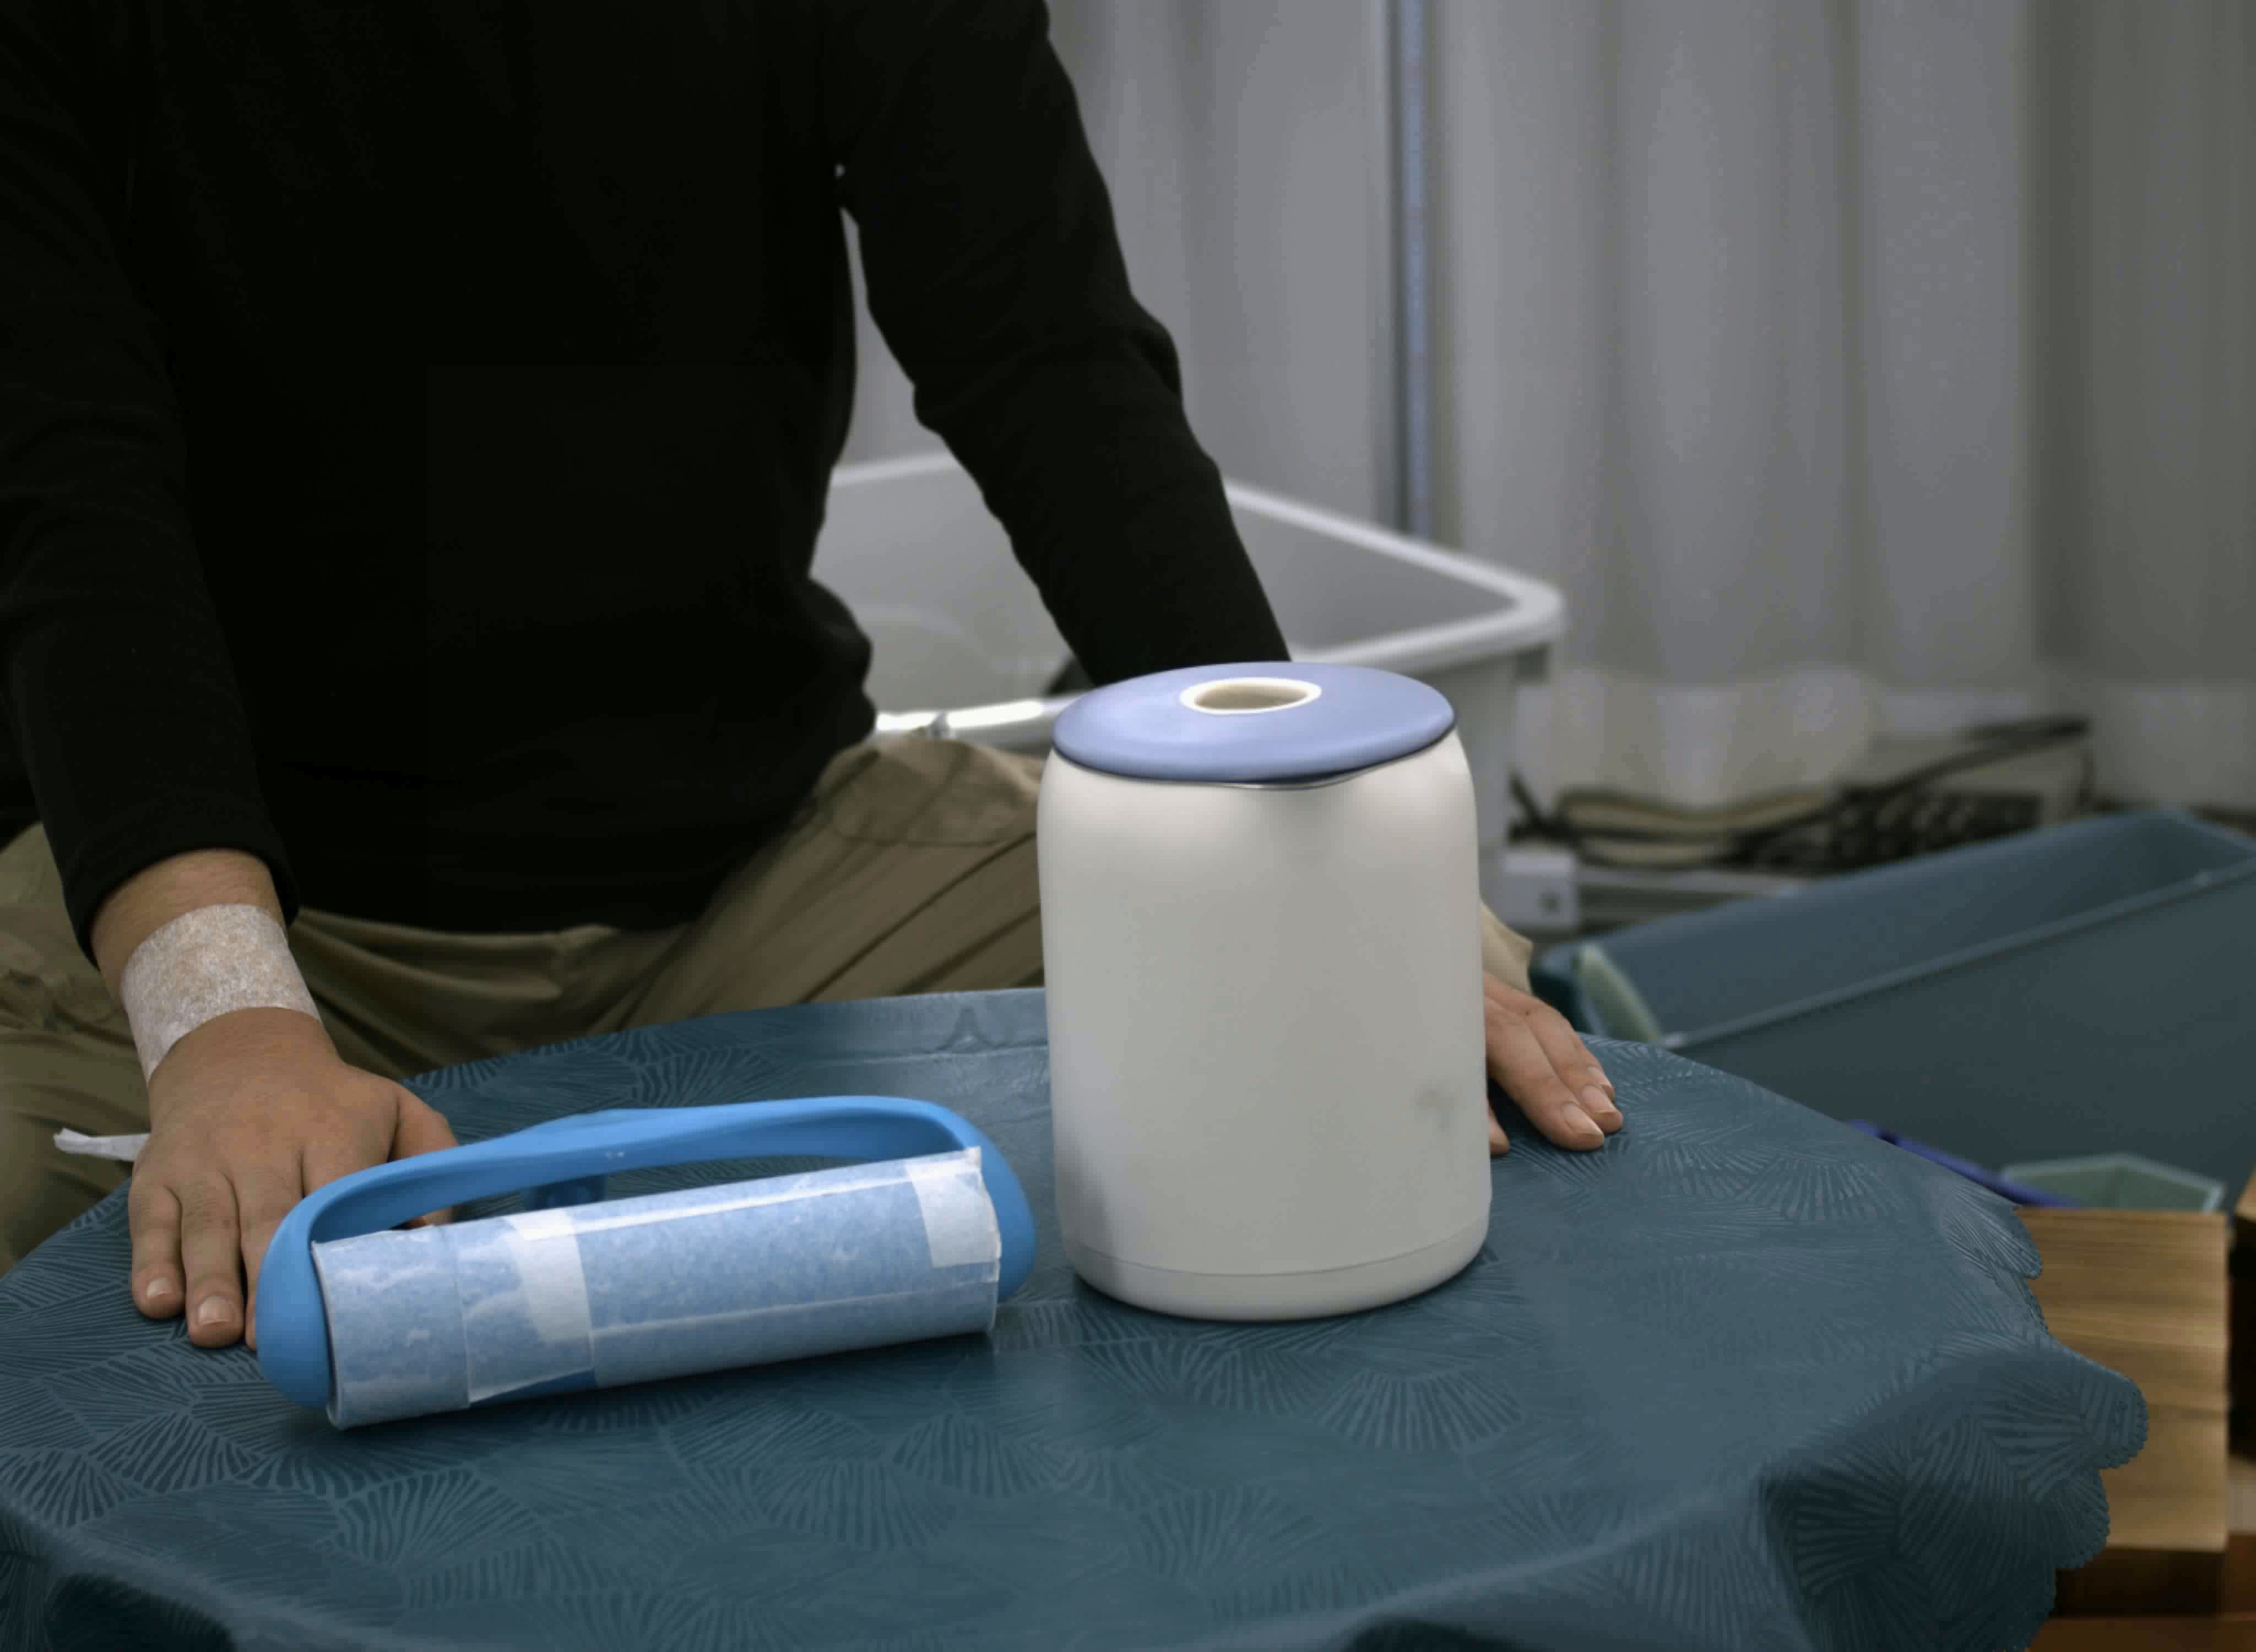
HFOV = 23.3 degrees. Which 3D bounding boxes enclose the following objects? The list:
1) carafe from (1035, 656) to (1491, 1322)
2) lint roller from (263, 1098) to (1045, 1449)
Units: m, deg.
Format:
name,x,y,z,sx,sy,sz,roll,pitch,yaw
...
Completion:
name,x,y,z,sx,sy,sz,roll,pitch,yaw
carafe,0.034,0.042,1.650,0.131,0.182,0.192,-5,12,-13
lint roller,-0.154,0.116,1.624,0.228,0.067,0.182,-11,21,-16
